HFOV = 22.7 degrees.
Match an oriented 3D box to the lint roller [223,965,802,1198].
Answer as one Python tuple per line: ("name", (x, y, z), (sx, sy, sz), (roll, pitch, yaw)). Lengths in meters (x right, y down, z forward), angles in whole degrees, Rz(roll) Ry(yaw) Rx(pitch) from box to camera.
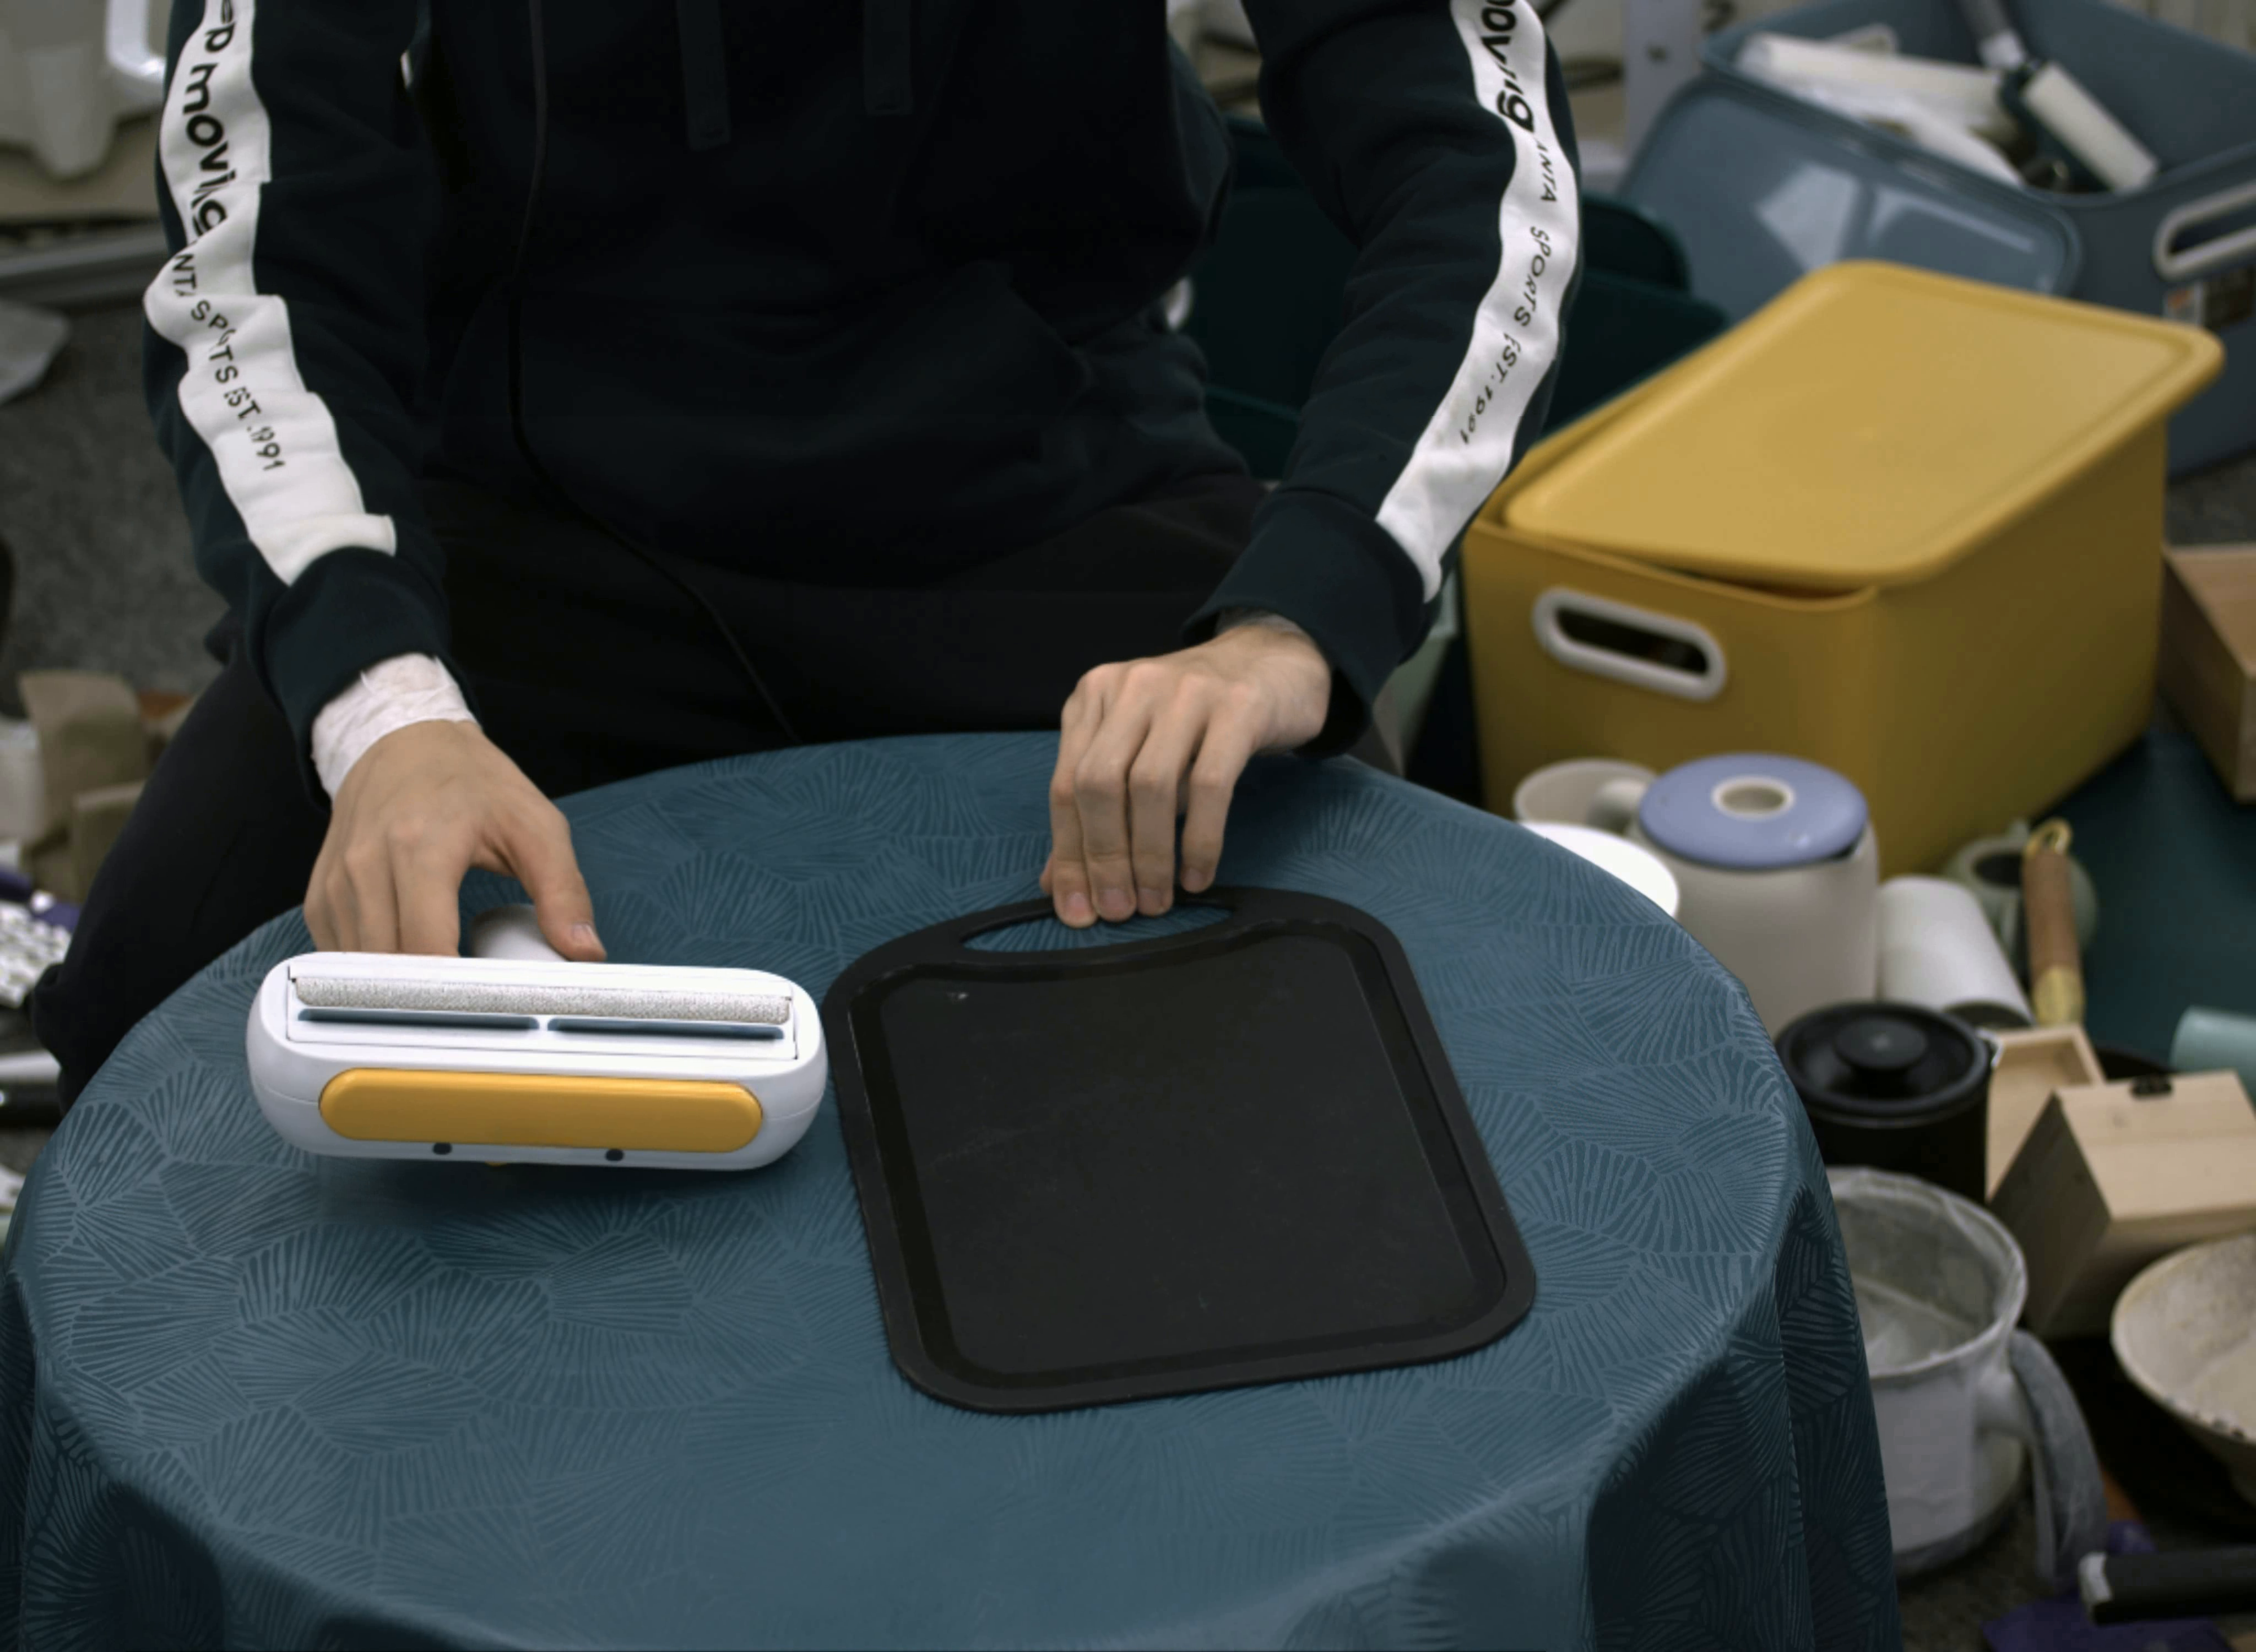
("lint roller", (-0.208, 0.078, 1.931), (0.192, 0.074, 0.194), (3, 13, -4))

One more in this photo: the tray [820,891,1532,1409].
("tray", (0.008, 0.100, 1.894), (0.210, 0.009, 0.329), (-6, 28, -6))
